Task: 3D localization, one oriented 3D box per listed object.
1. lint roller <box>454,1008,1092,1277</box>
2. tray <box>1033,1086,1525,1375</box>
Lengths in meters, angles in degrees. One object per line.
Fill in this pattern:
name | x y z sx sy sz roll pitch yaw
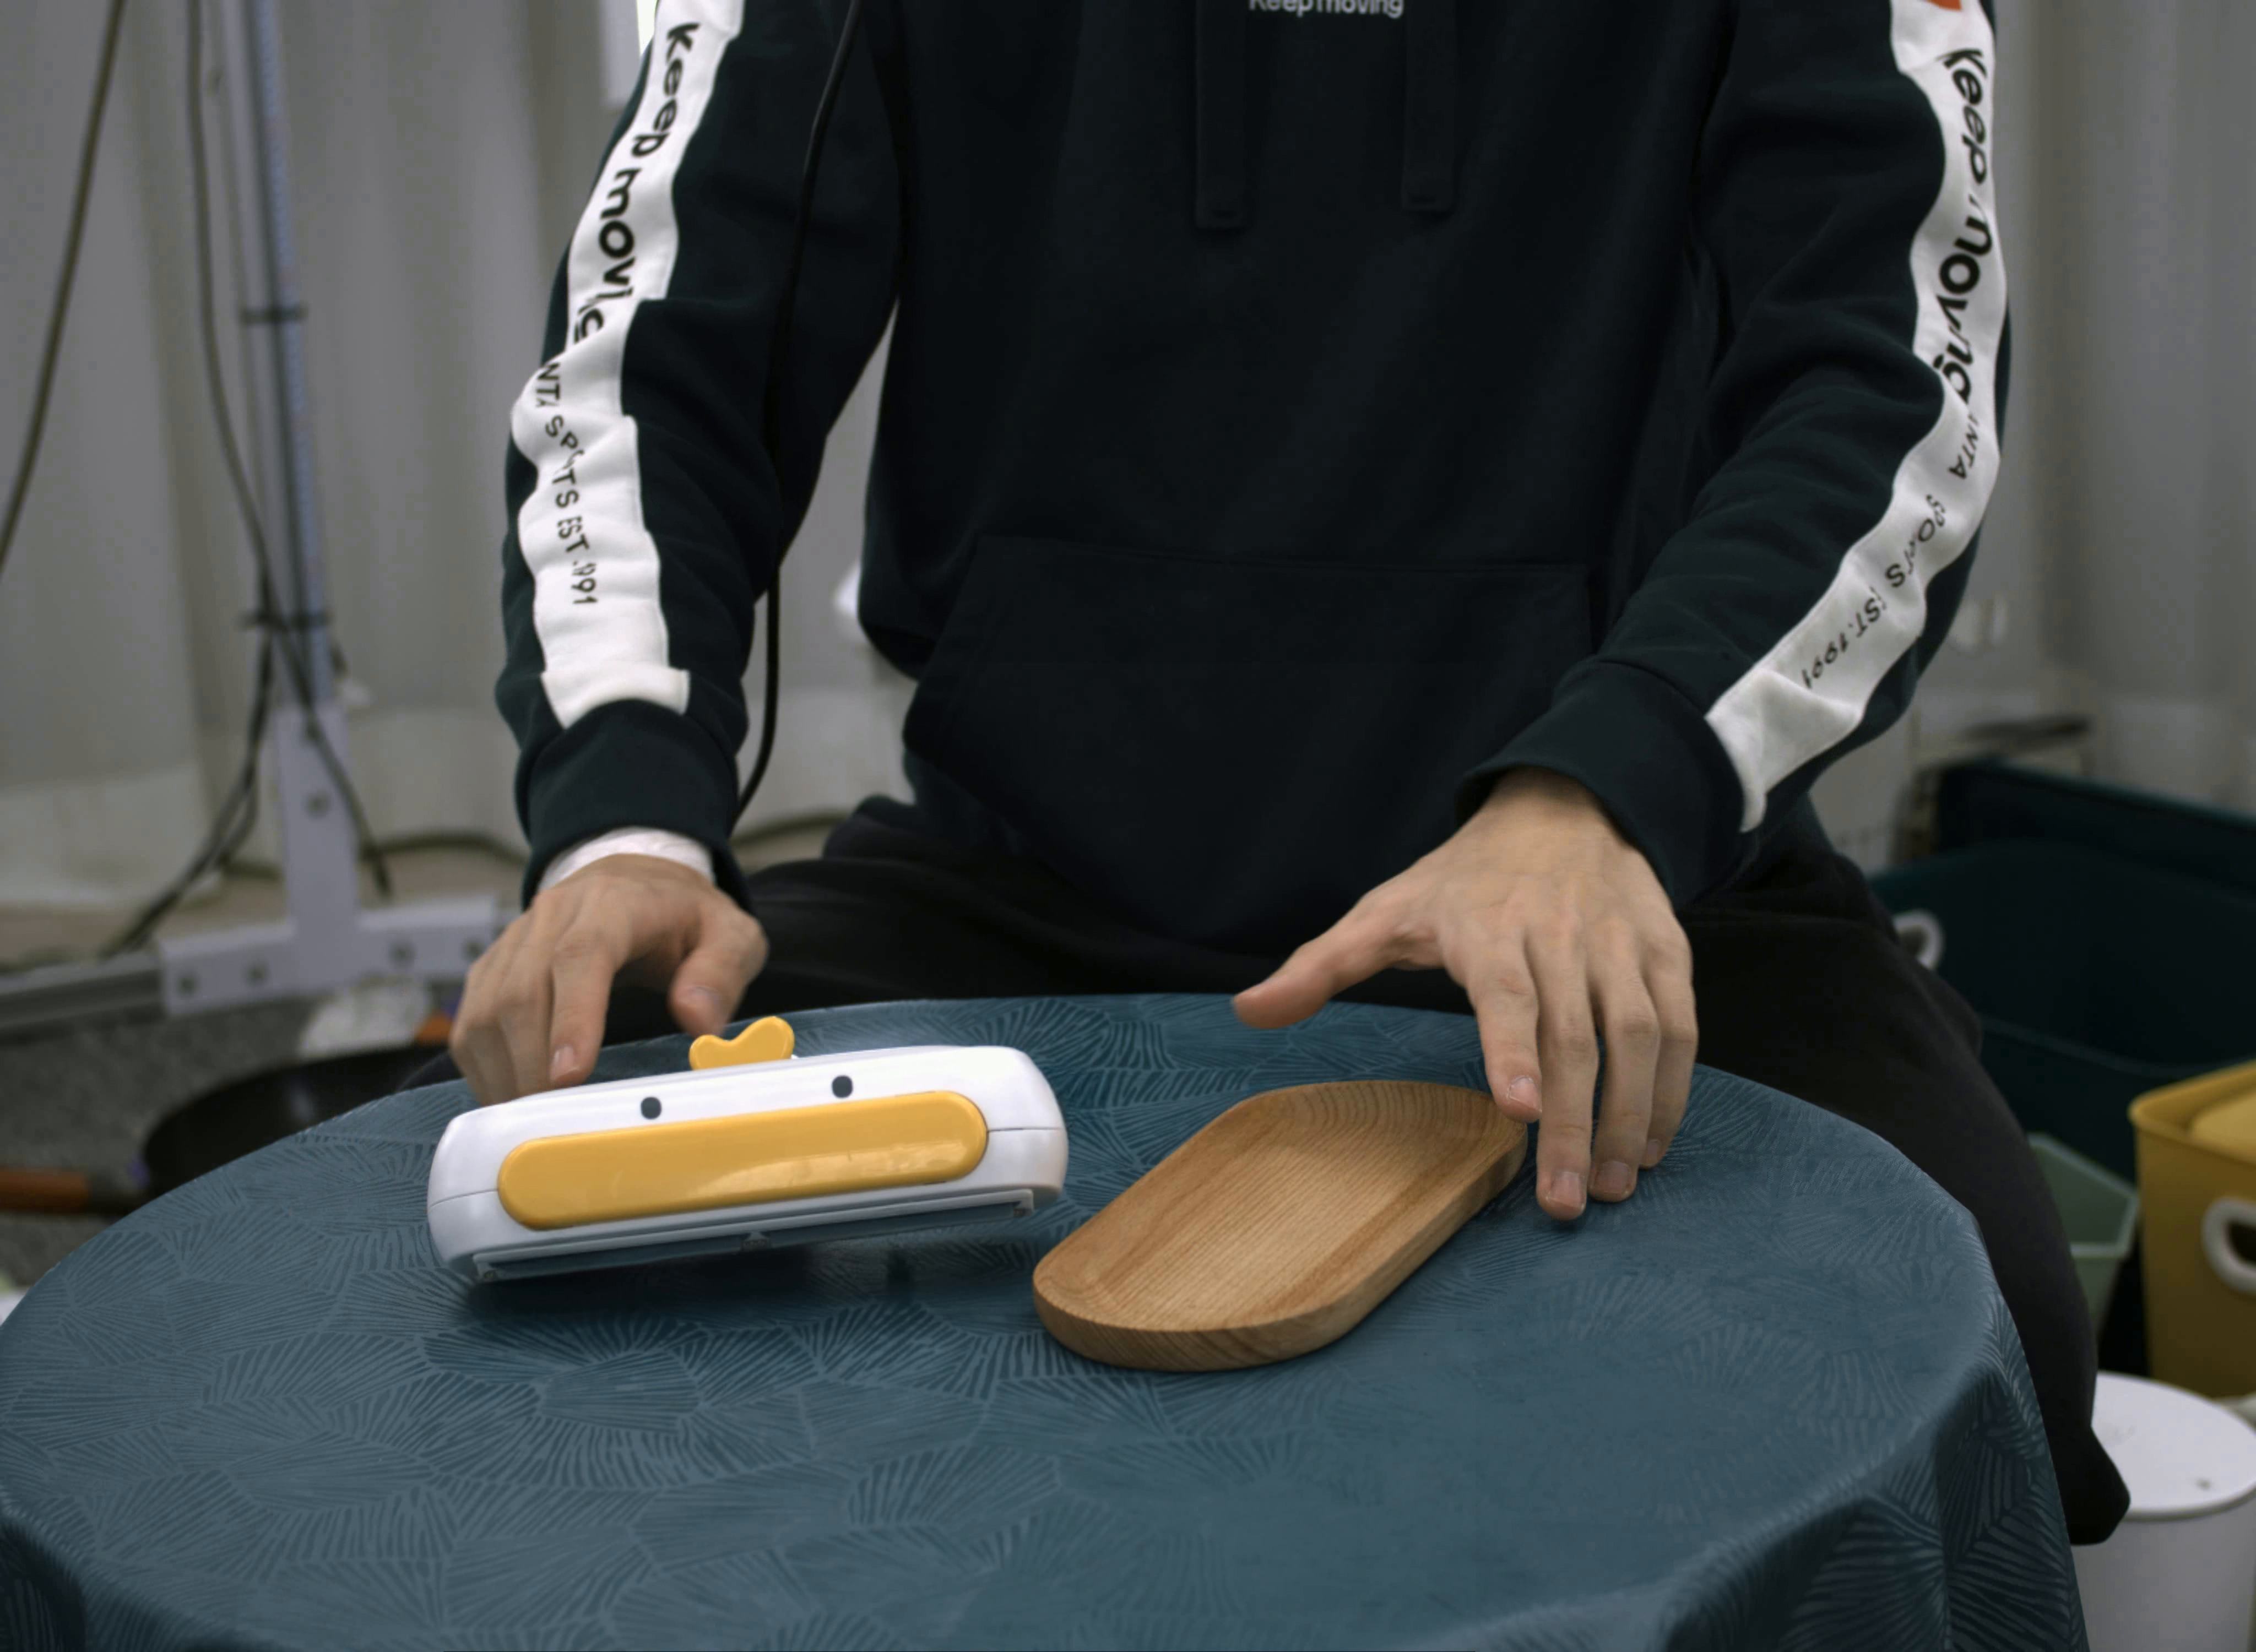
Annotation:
lint roller | -0.114 0.098 1.705 0.192 0.074 0.192 -11 -4 -6
tray | 0.049 0.120 1.652 0.102 0.020 0.232 3 17 23
